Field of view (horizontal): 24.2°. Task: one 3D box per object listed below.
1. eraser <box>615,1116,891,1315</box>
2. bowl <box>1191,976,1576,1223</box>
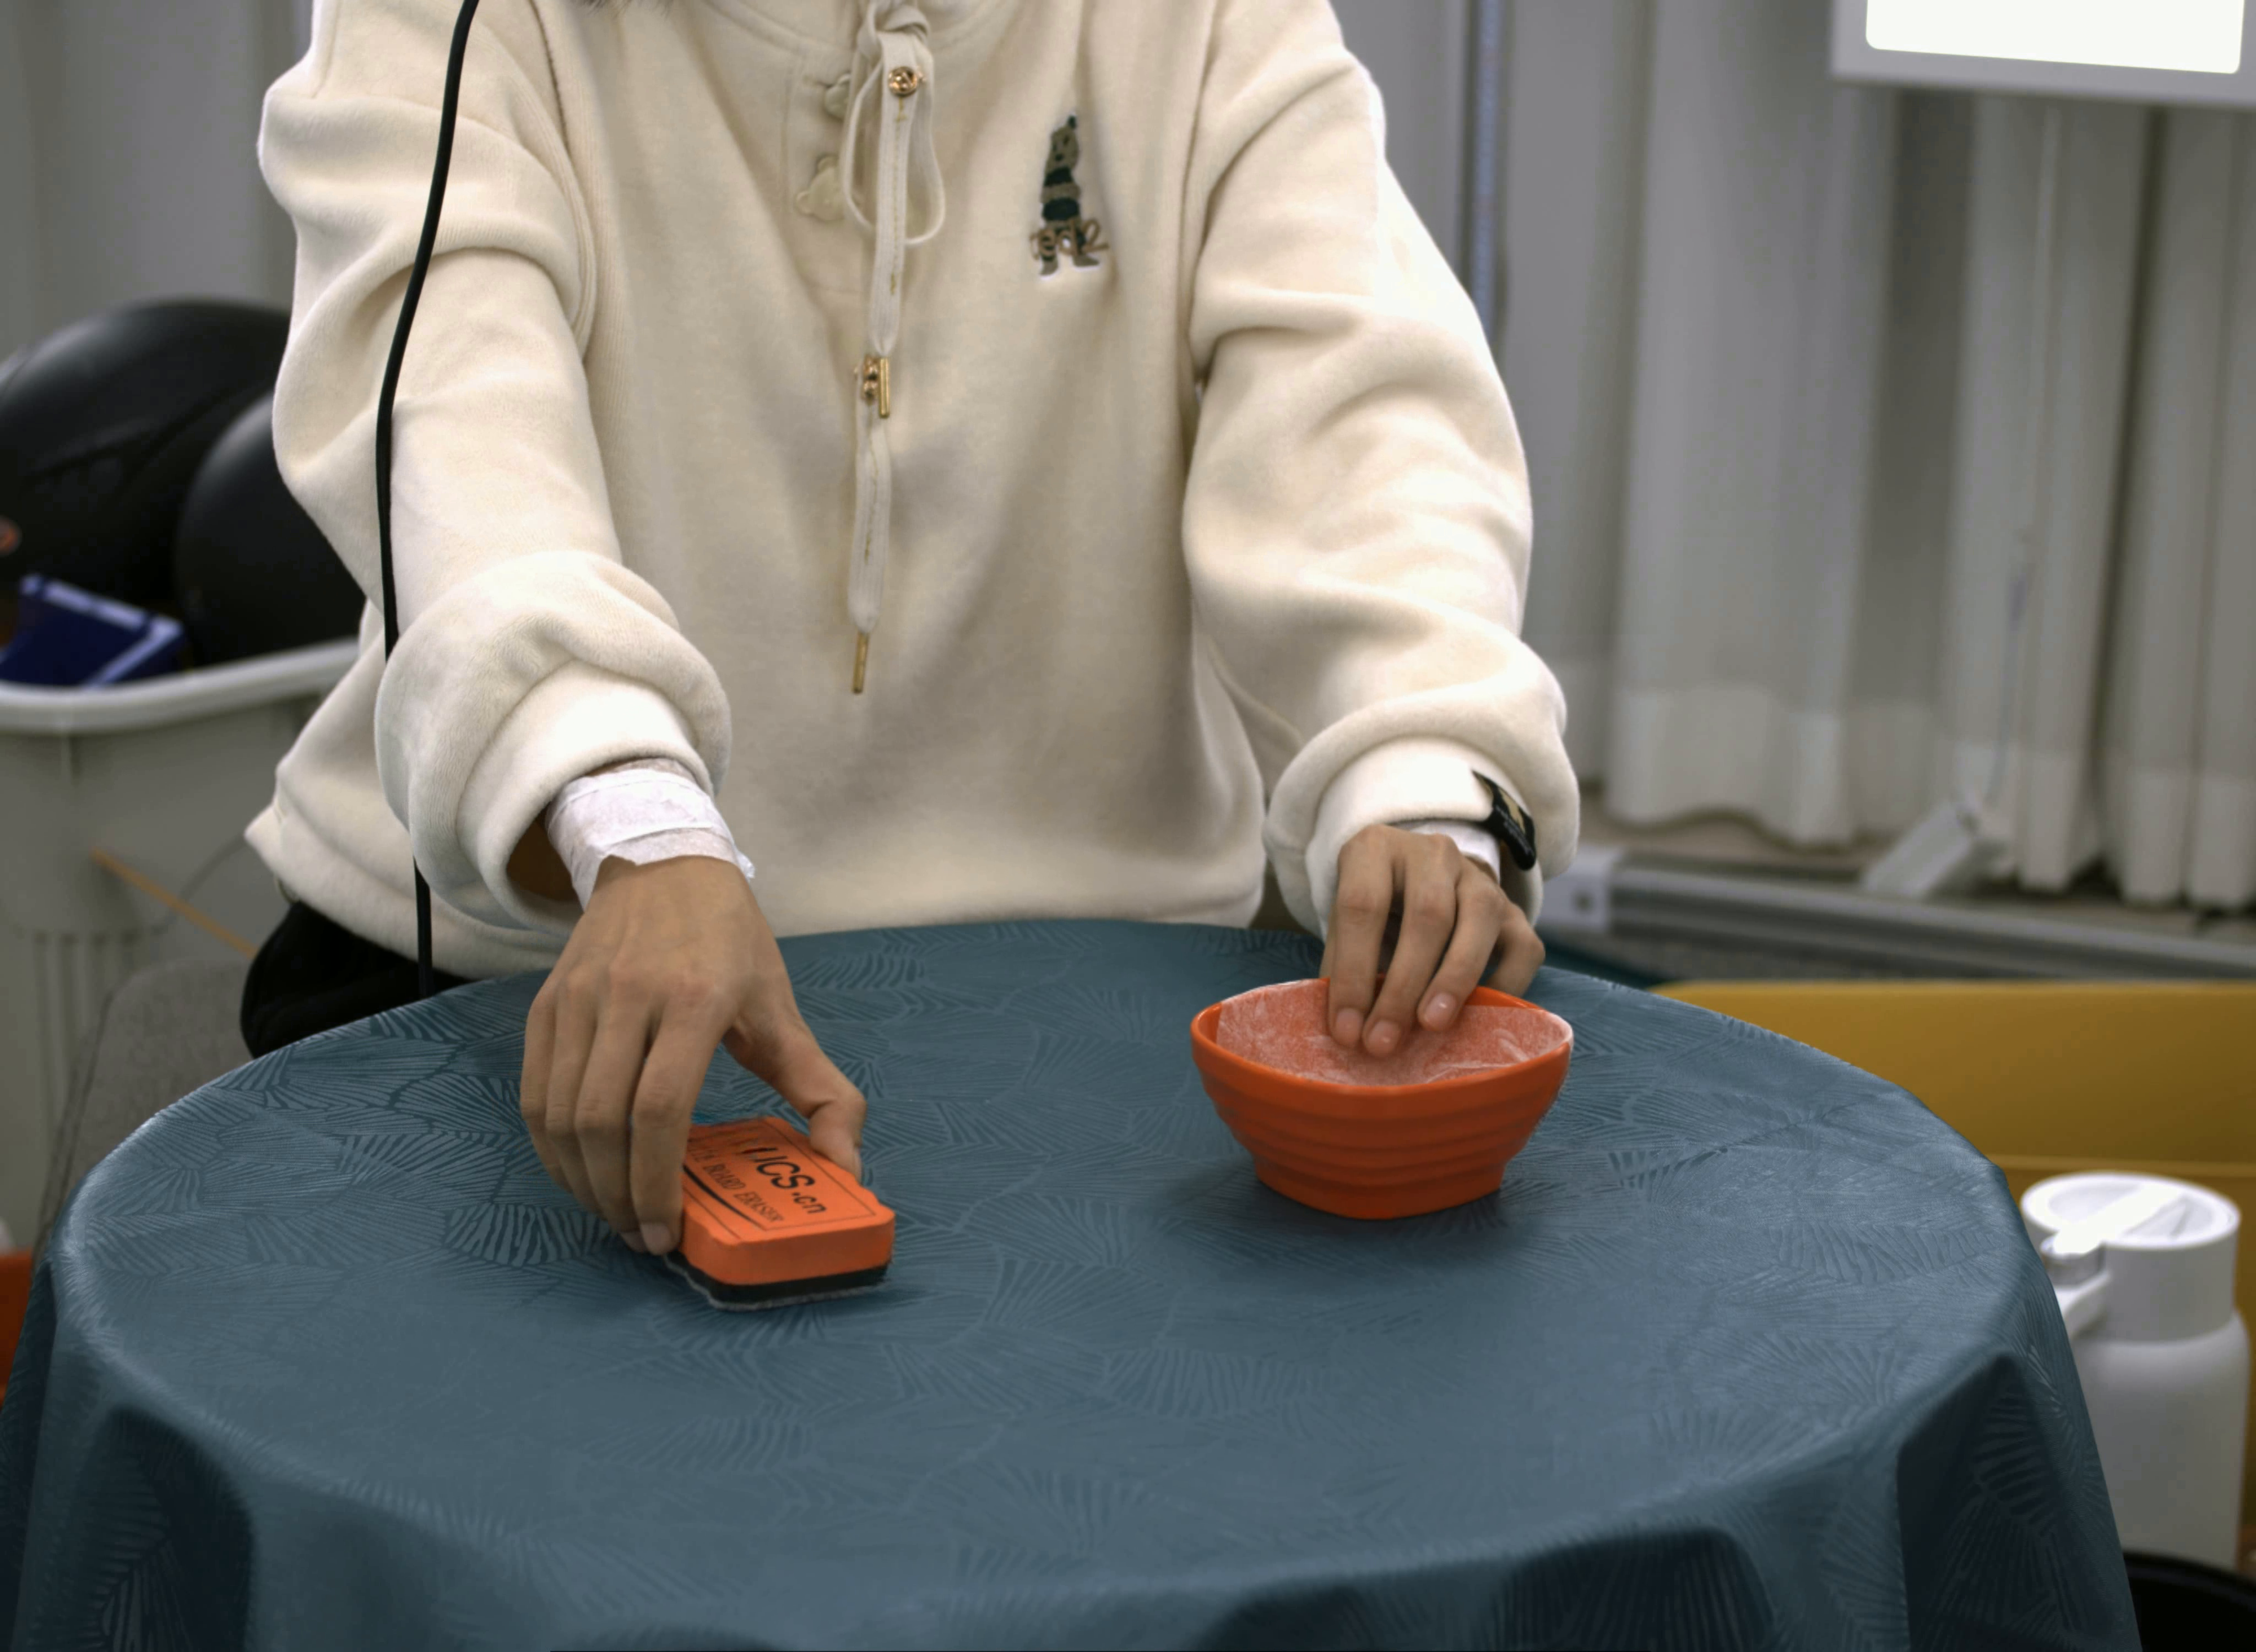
[{"bbox_3d":[-0.112,0.115,1.566,0.059,0.023,0.107,-8,17,-21],"label":"eraser"},{"bbox_3d":[0.079,0.086,1.625,0.118,0.052,0.118,-1,15,1],"label":"bowl"}]
